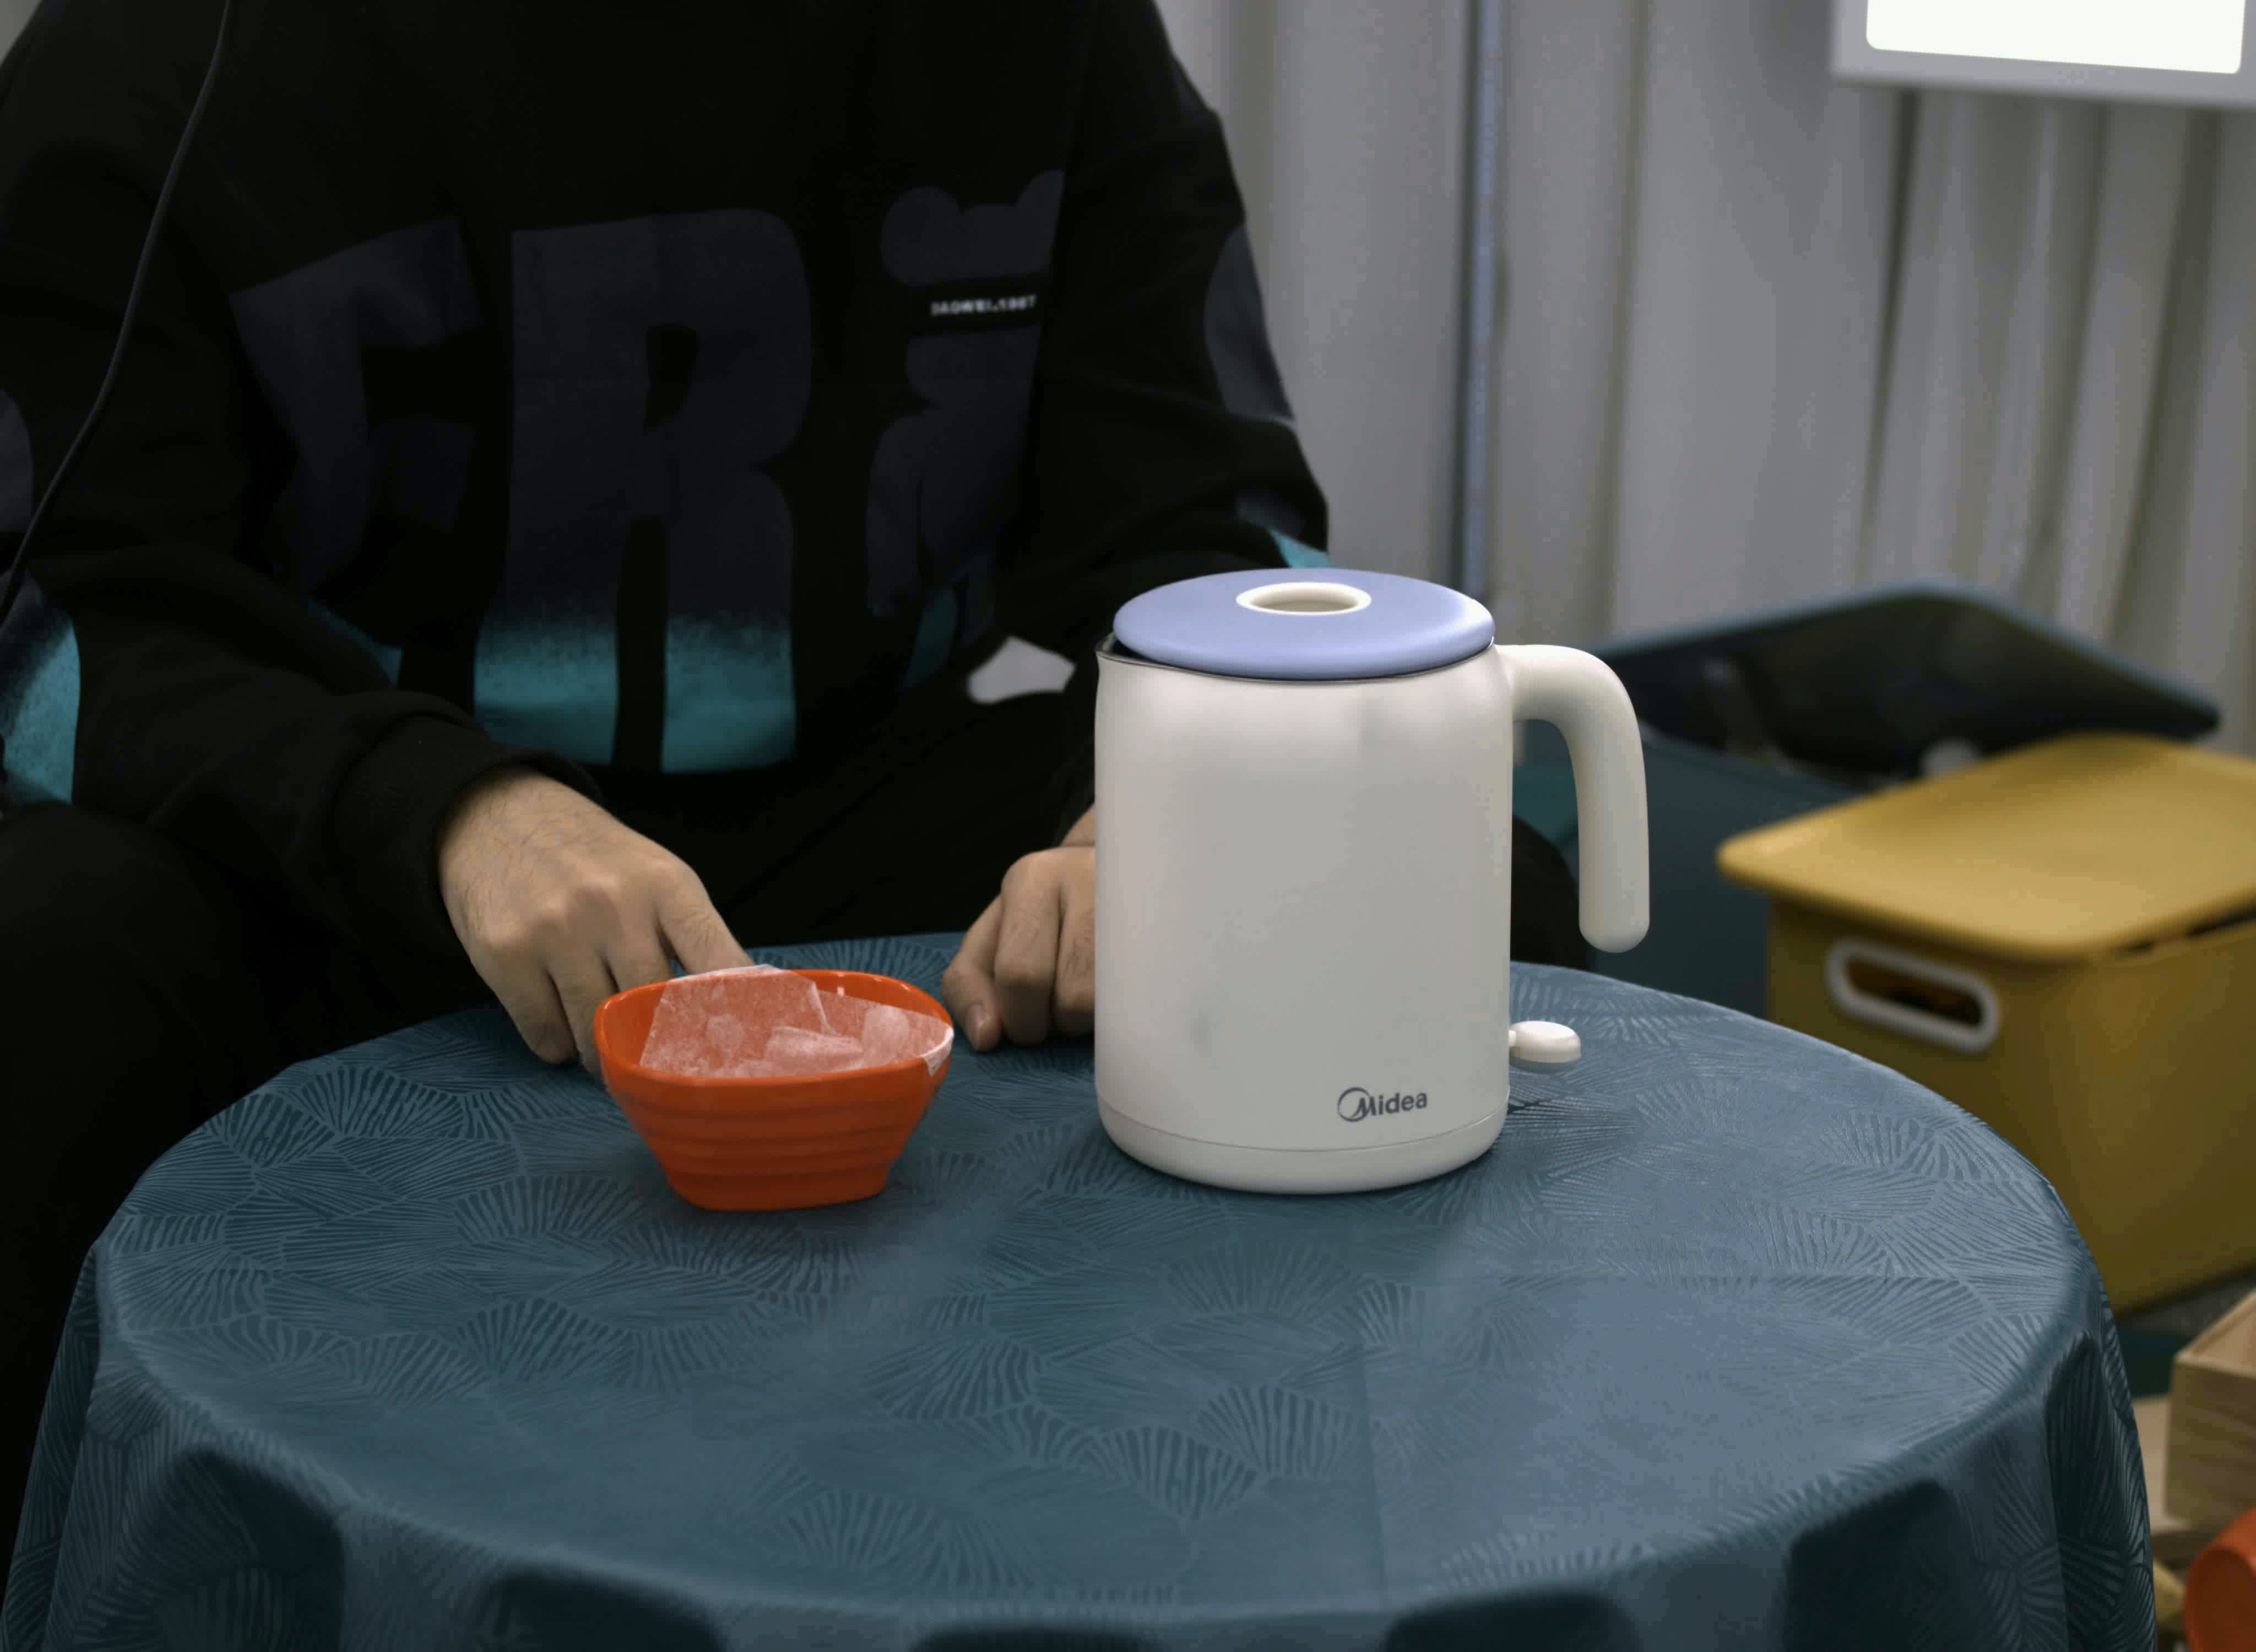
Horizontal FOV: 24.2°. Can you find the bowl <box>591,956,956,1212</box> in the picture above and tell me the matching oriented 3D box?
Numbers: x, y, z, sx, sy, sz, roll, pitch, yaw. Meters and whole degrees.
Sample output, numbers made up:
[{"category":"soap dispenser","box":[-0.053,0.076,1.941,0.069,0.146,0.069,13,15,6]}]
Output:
[{"category":"bowl","box":[-0.109,0.082,1.624,0.118,0.052,0.118,-1,19,1]}]

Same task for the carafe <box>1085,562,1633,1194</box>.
[{"category":"carafe","box":[0.076,0.014,1.658,0.192,0.184,0.130,-4,18,-23]}]
